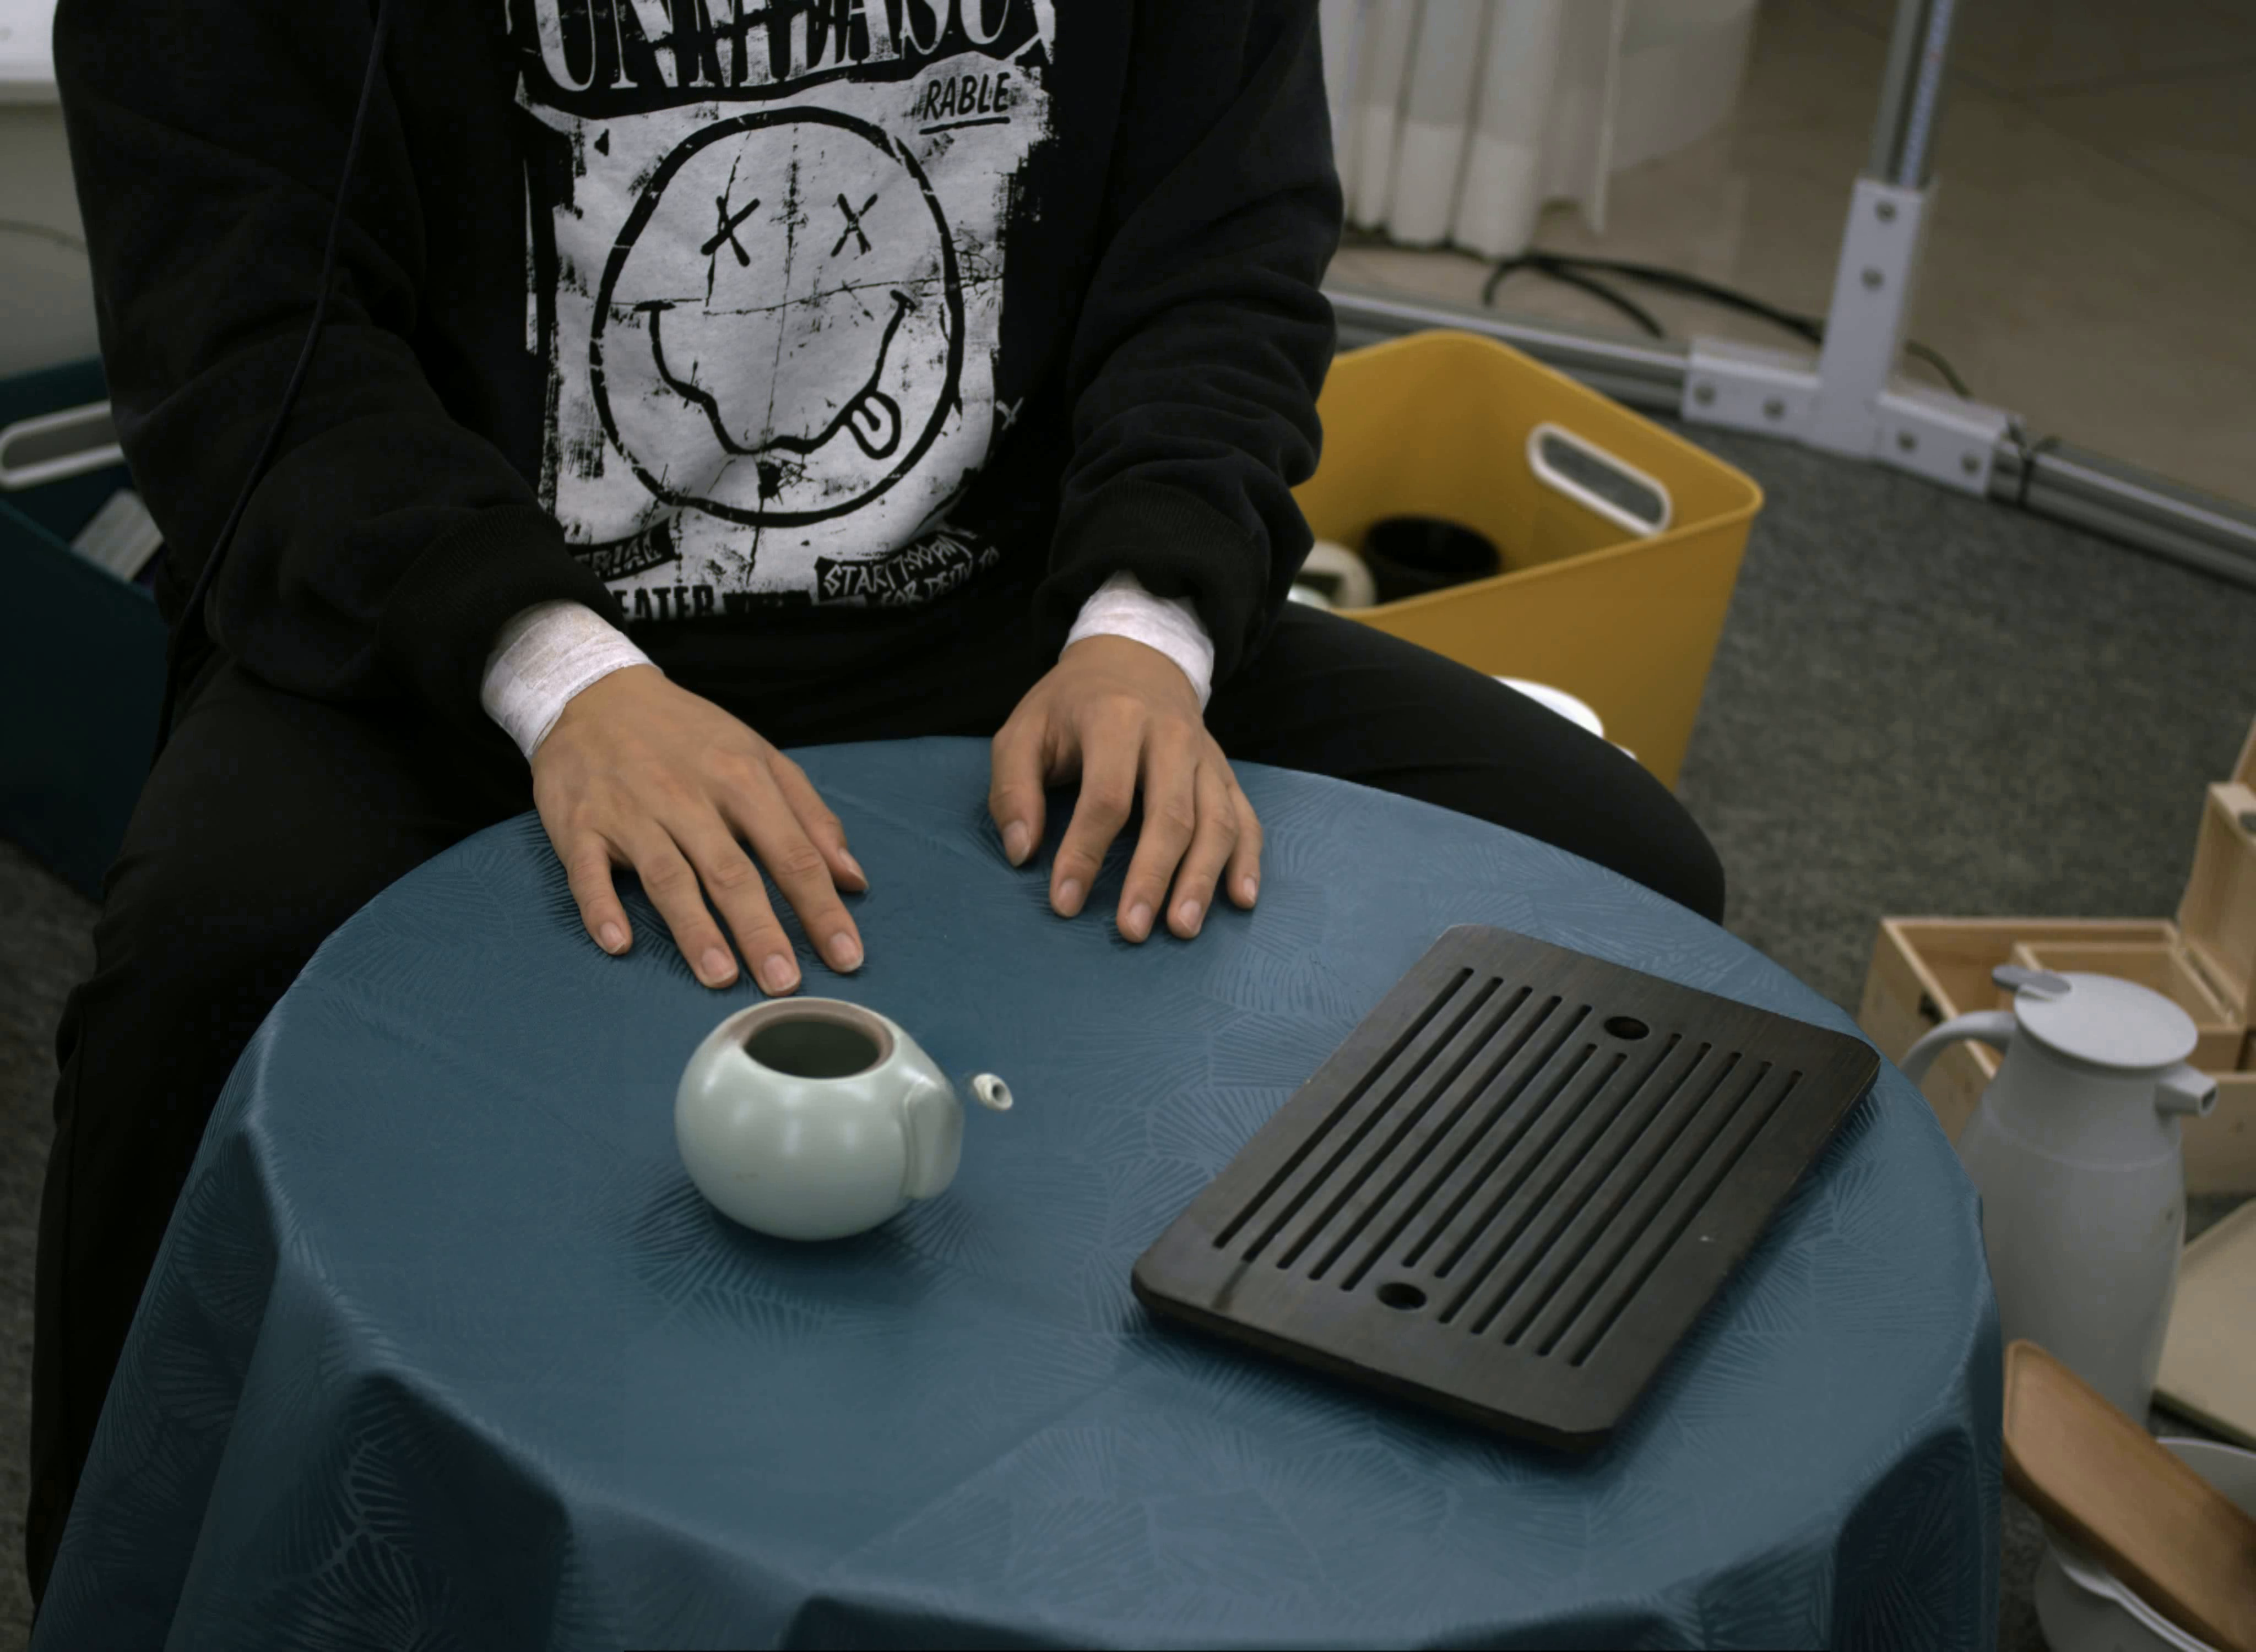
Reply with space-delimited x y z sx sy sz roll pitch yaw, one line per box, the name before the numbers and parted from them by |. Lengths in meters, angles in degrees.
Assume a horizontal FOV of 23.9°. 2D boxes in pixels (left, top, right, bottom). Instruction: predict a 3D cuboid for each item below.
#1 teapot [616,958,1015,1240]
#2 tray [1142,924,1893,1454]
teapot | -0.105 0.095 1.758 0.144 0.074 0.088 19 29 21
tray | 0.139 0.121 1.822 0.170 0.018 0.306 17 28 20
